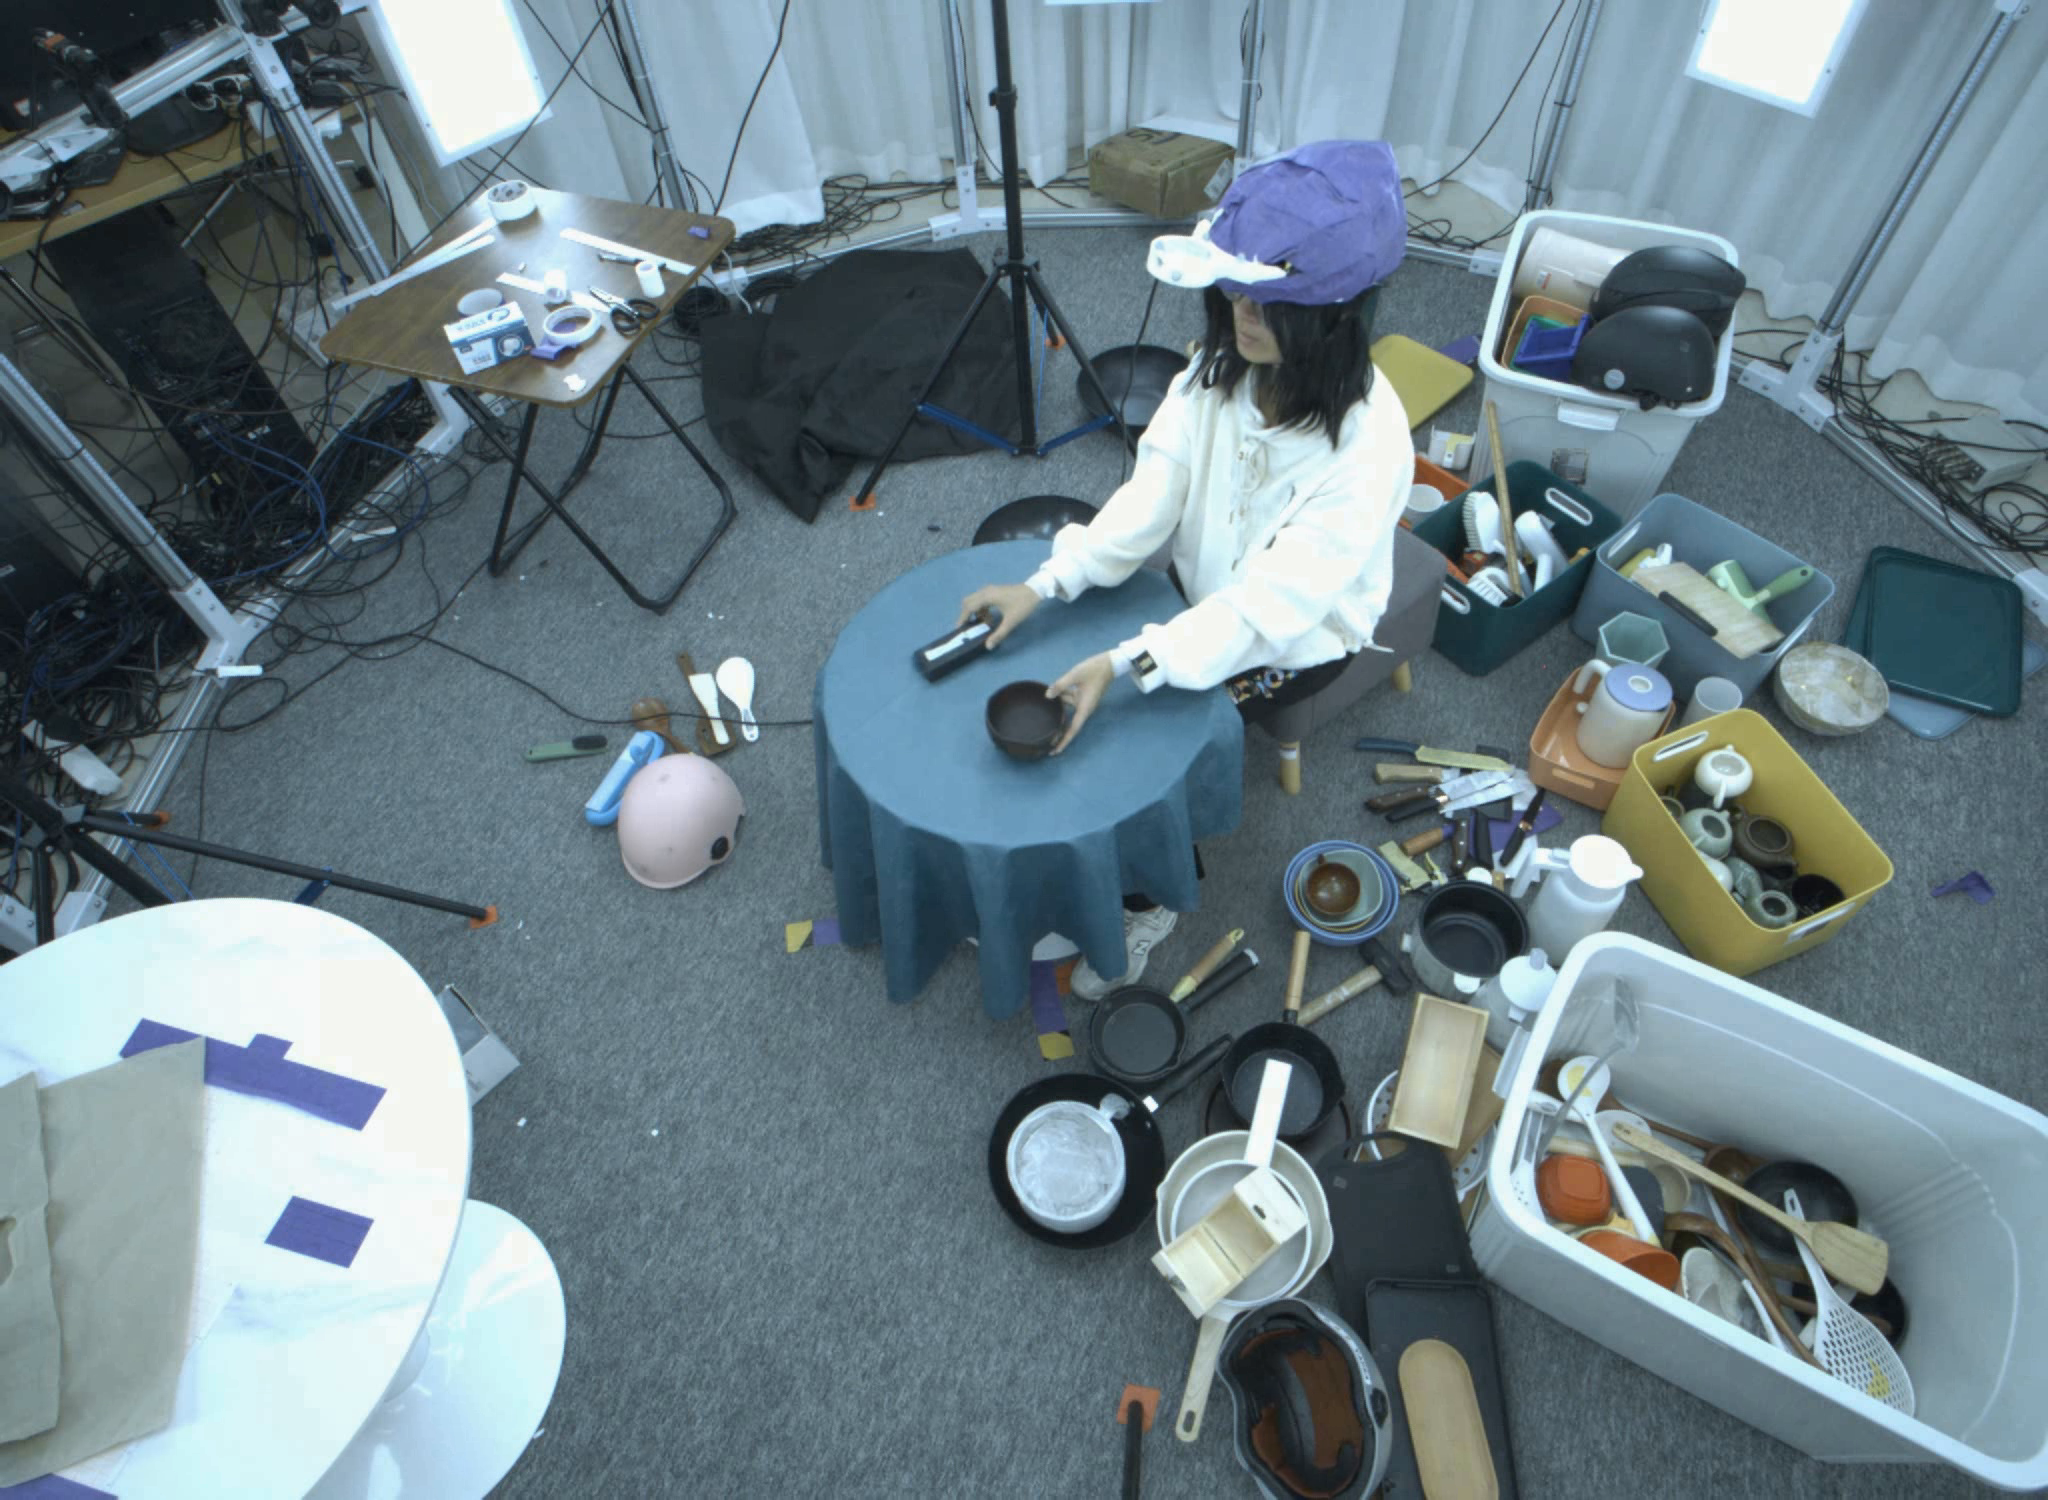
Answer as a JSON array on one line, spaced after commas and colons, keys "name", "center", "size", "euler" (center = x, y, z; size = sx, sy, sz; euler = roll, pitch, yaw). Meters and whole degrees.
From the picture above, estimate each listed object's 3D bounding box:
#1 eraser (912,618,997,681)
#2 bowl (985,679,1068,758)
[{"name": "eraser", "center": [-0.107, -0.155, 1.885], "size": [0.126, 0.031, 0.052], "euler": [-29, 60, -20]}, {"name": "bowl", "center": [0.004, -0.037, 1.770], "size": [0.118, 0.070, 0.117], "euler": [0, 54, 2]}]
